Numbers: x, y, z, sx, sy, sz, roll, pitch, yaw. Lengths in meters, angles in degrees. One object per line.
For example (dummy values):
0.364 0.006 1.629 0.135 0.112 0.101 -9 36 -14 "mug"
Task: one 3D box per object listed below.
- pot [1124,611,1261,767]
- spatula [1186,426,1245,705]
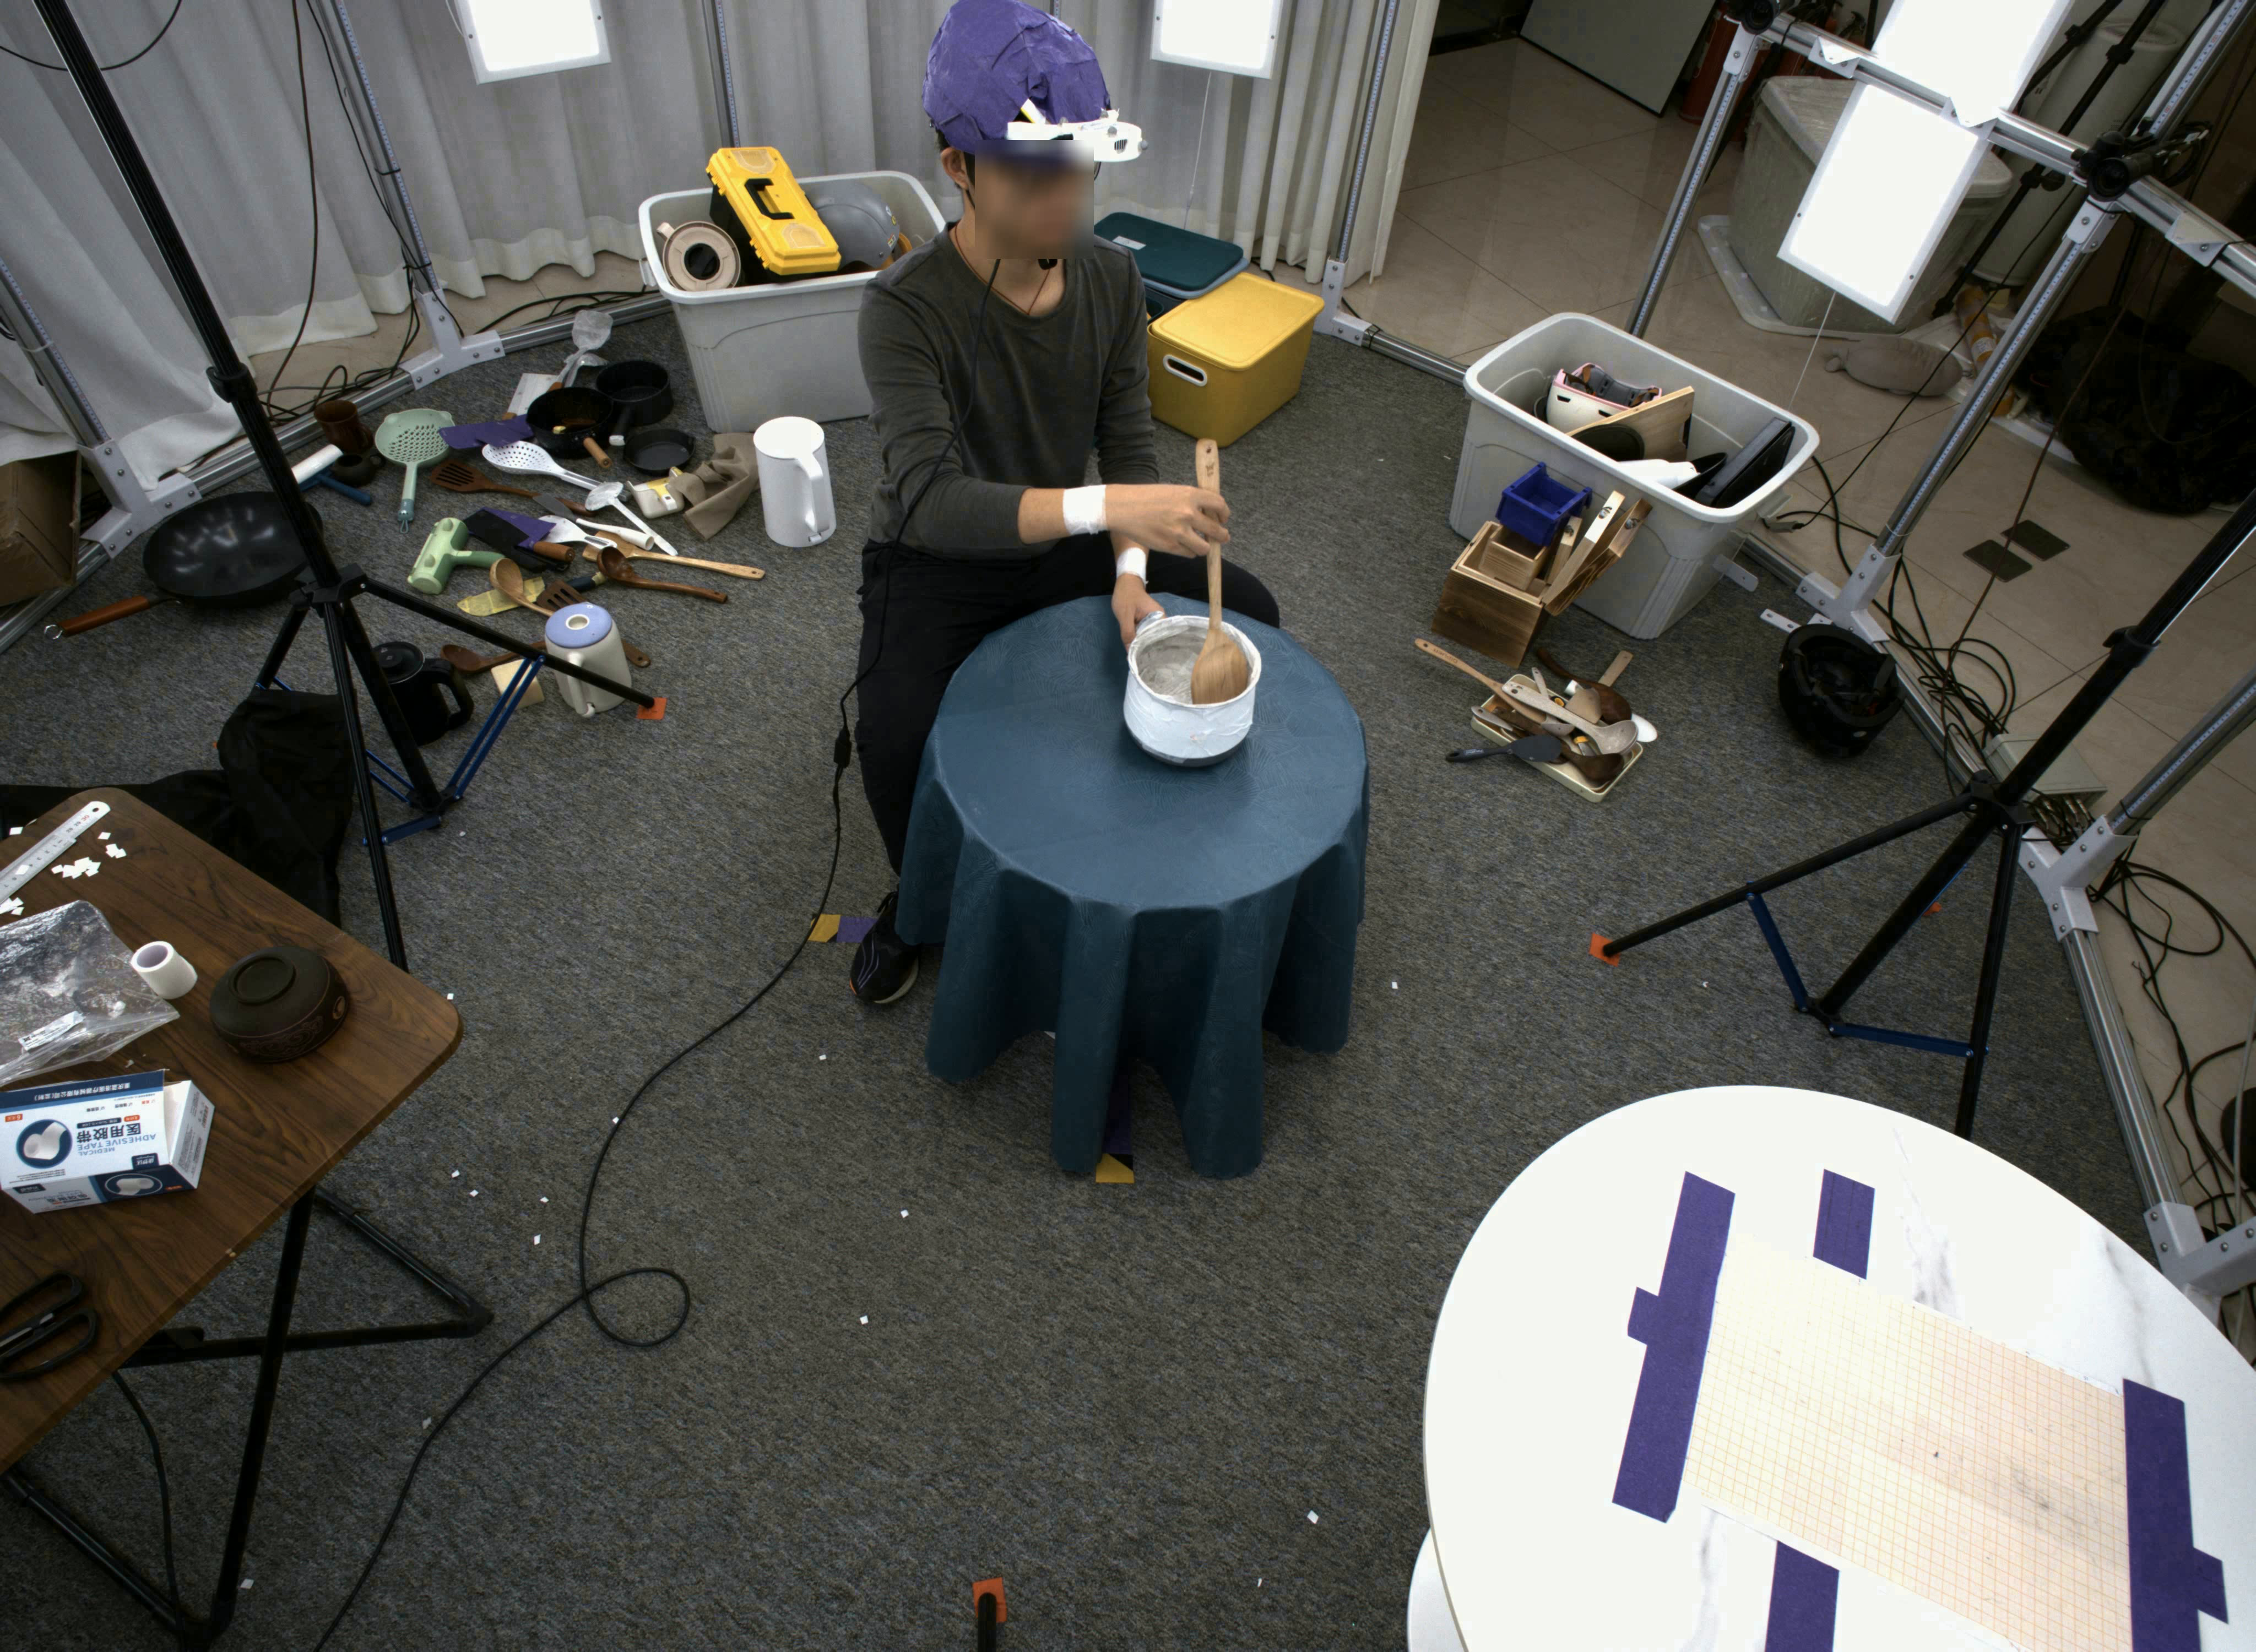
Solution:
0.071 -0.197 1.757 0.179 0.133 0.239 -21 53 -21 "pot"
0.102 -0.312 1.614 0.096 0.381 0.019 -29 45 -24 "spatula"
